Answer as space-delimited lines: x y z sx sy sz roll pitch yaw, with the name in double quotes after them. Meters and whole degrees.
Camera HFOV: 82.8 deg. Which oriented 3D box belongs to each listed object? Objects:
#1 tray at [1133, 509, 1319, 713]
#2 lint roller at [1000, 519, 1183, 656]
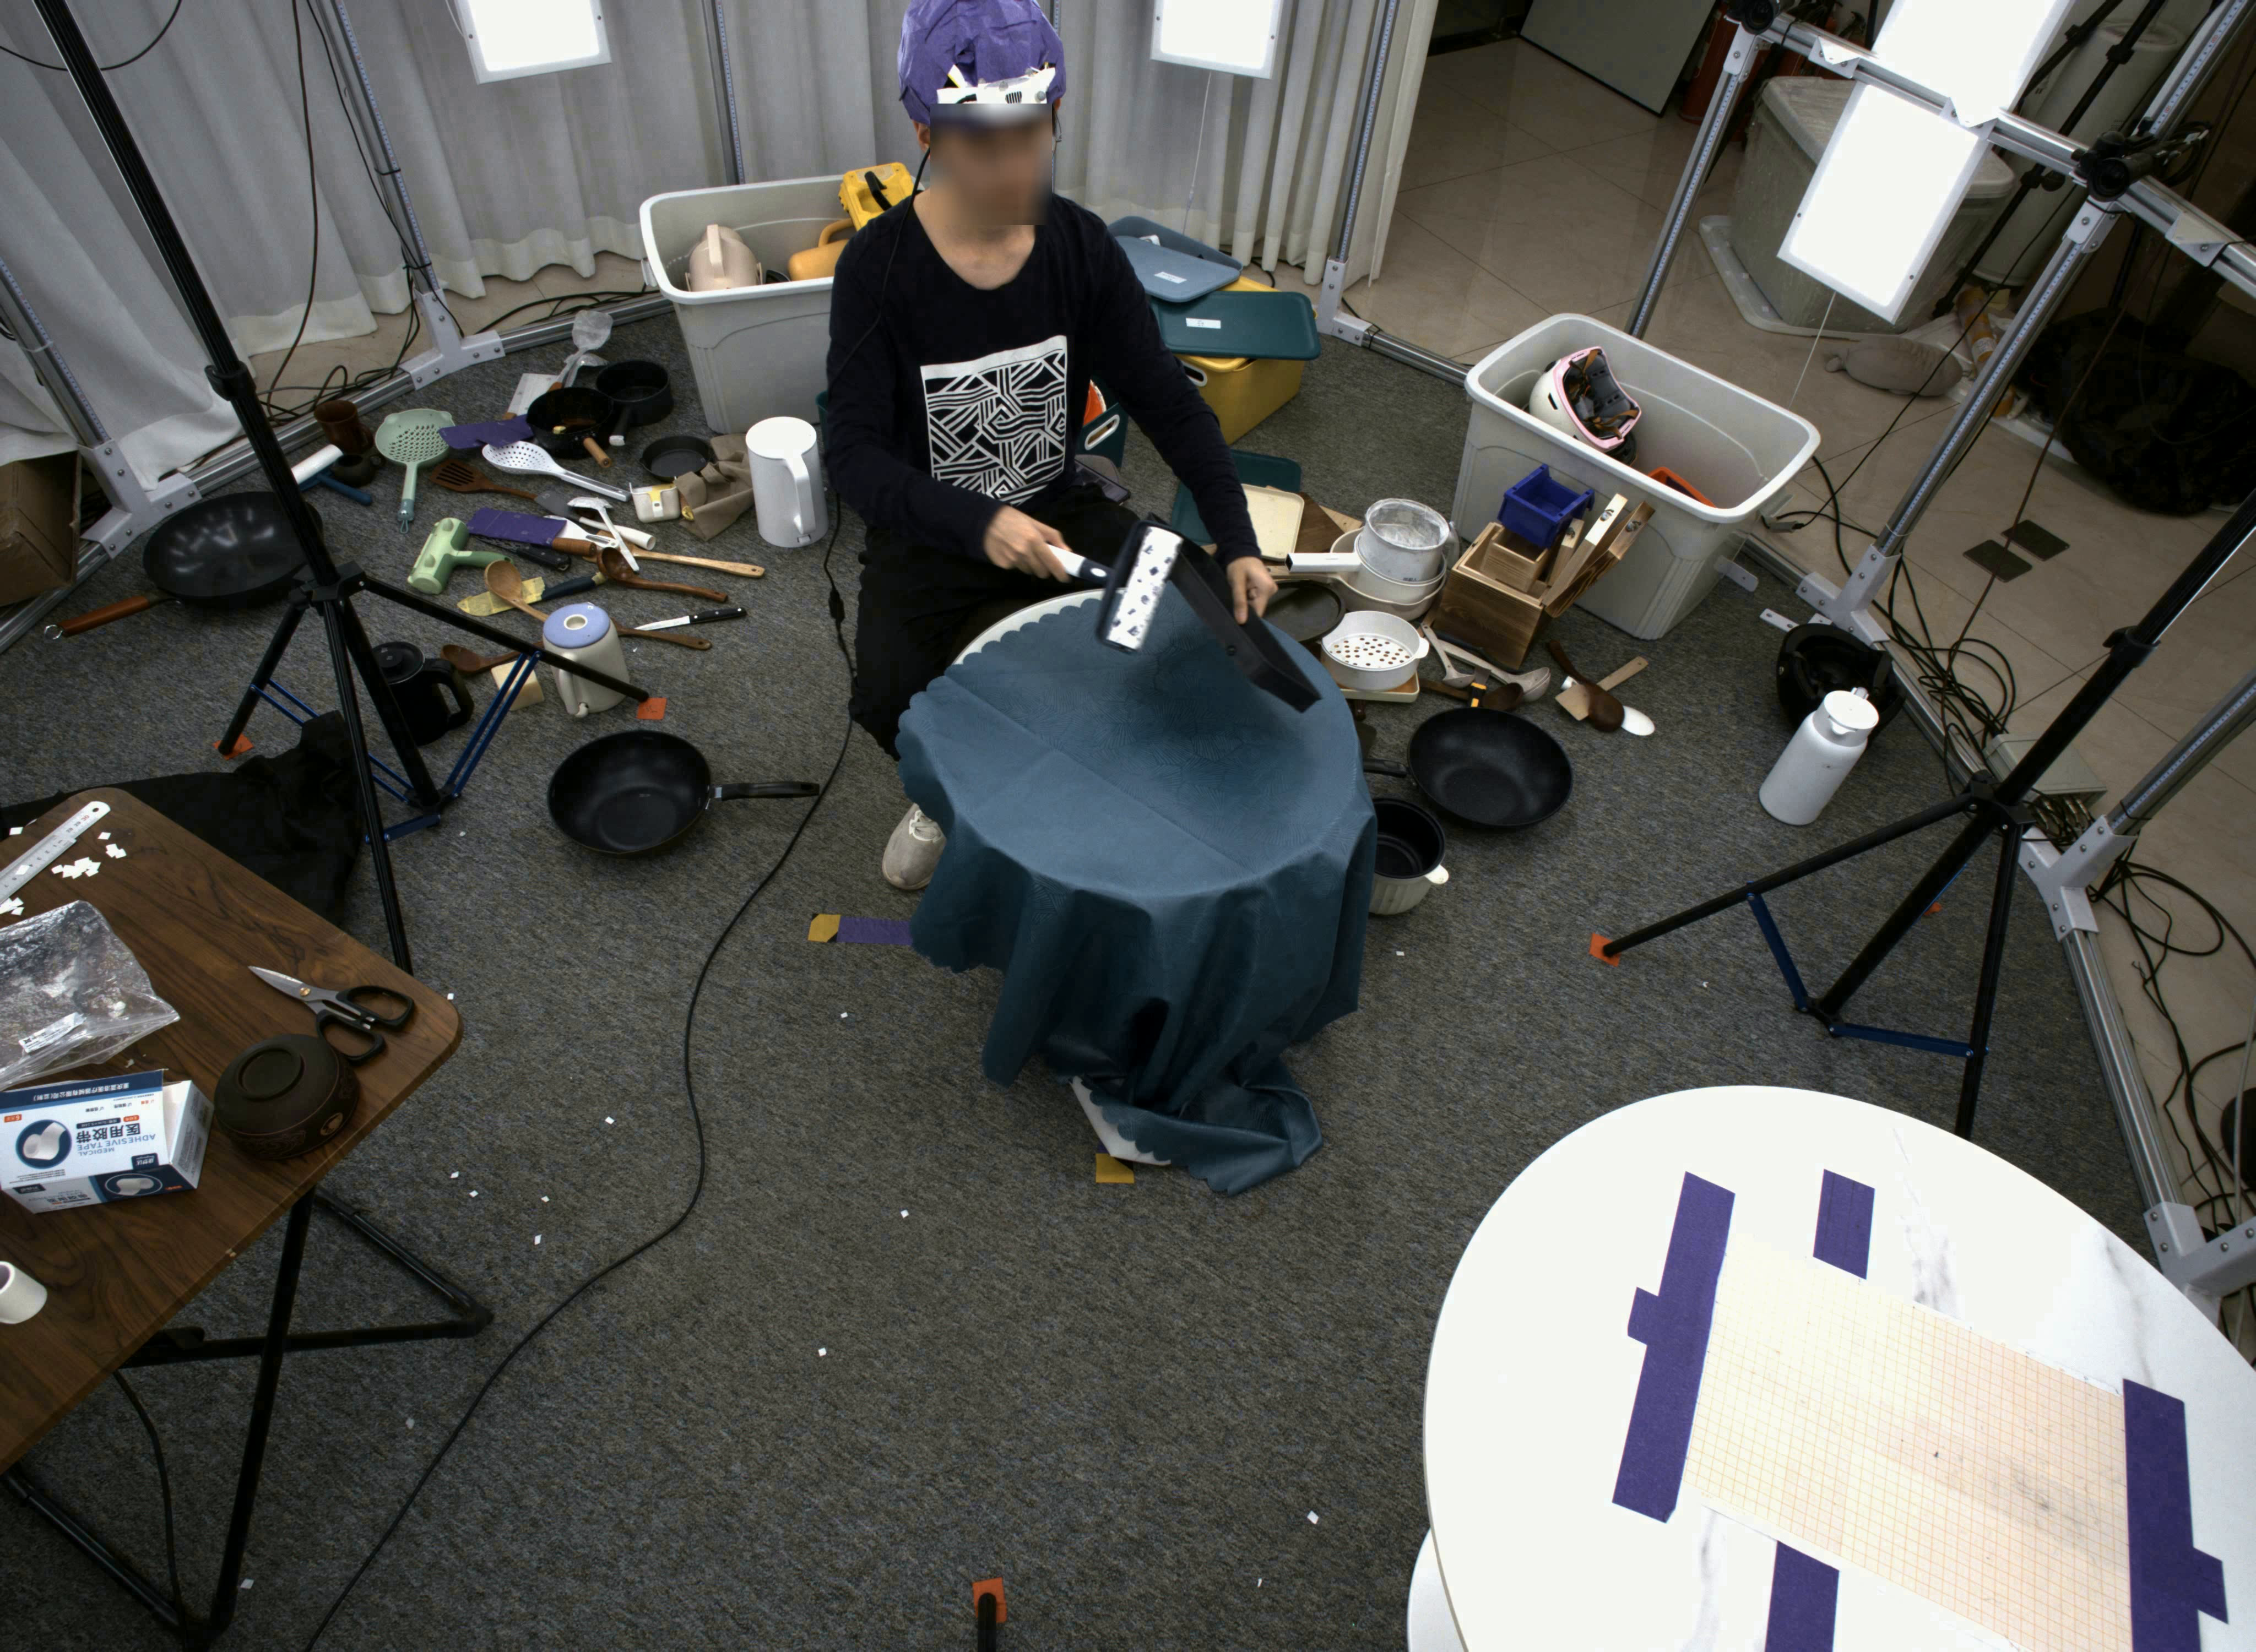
0.132 -0.293 1.757 0.037 0.182 0.324 -43 59 17 "tray"
-0.065 -0.347 1.724 0.249 0.050 0.176 21 93 16 "lint roller"
